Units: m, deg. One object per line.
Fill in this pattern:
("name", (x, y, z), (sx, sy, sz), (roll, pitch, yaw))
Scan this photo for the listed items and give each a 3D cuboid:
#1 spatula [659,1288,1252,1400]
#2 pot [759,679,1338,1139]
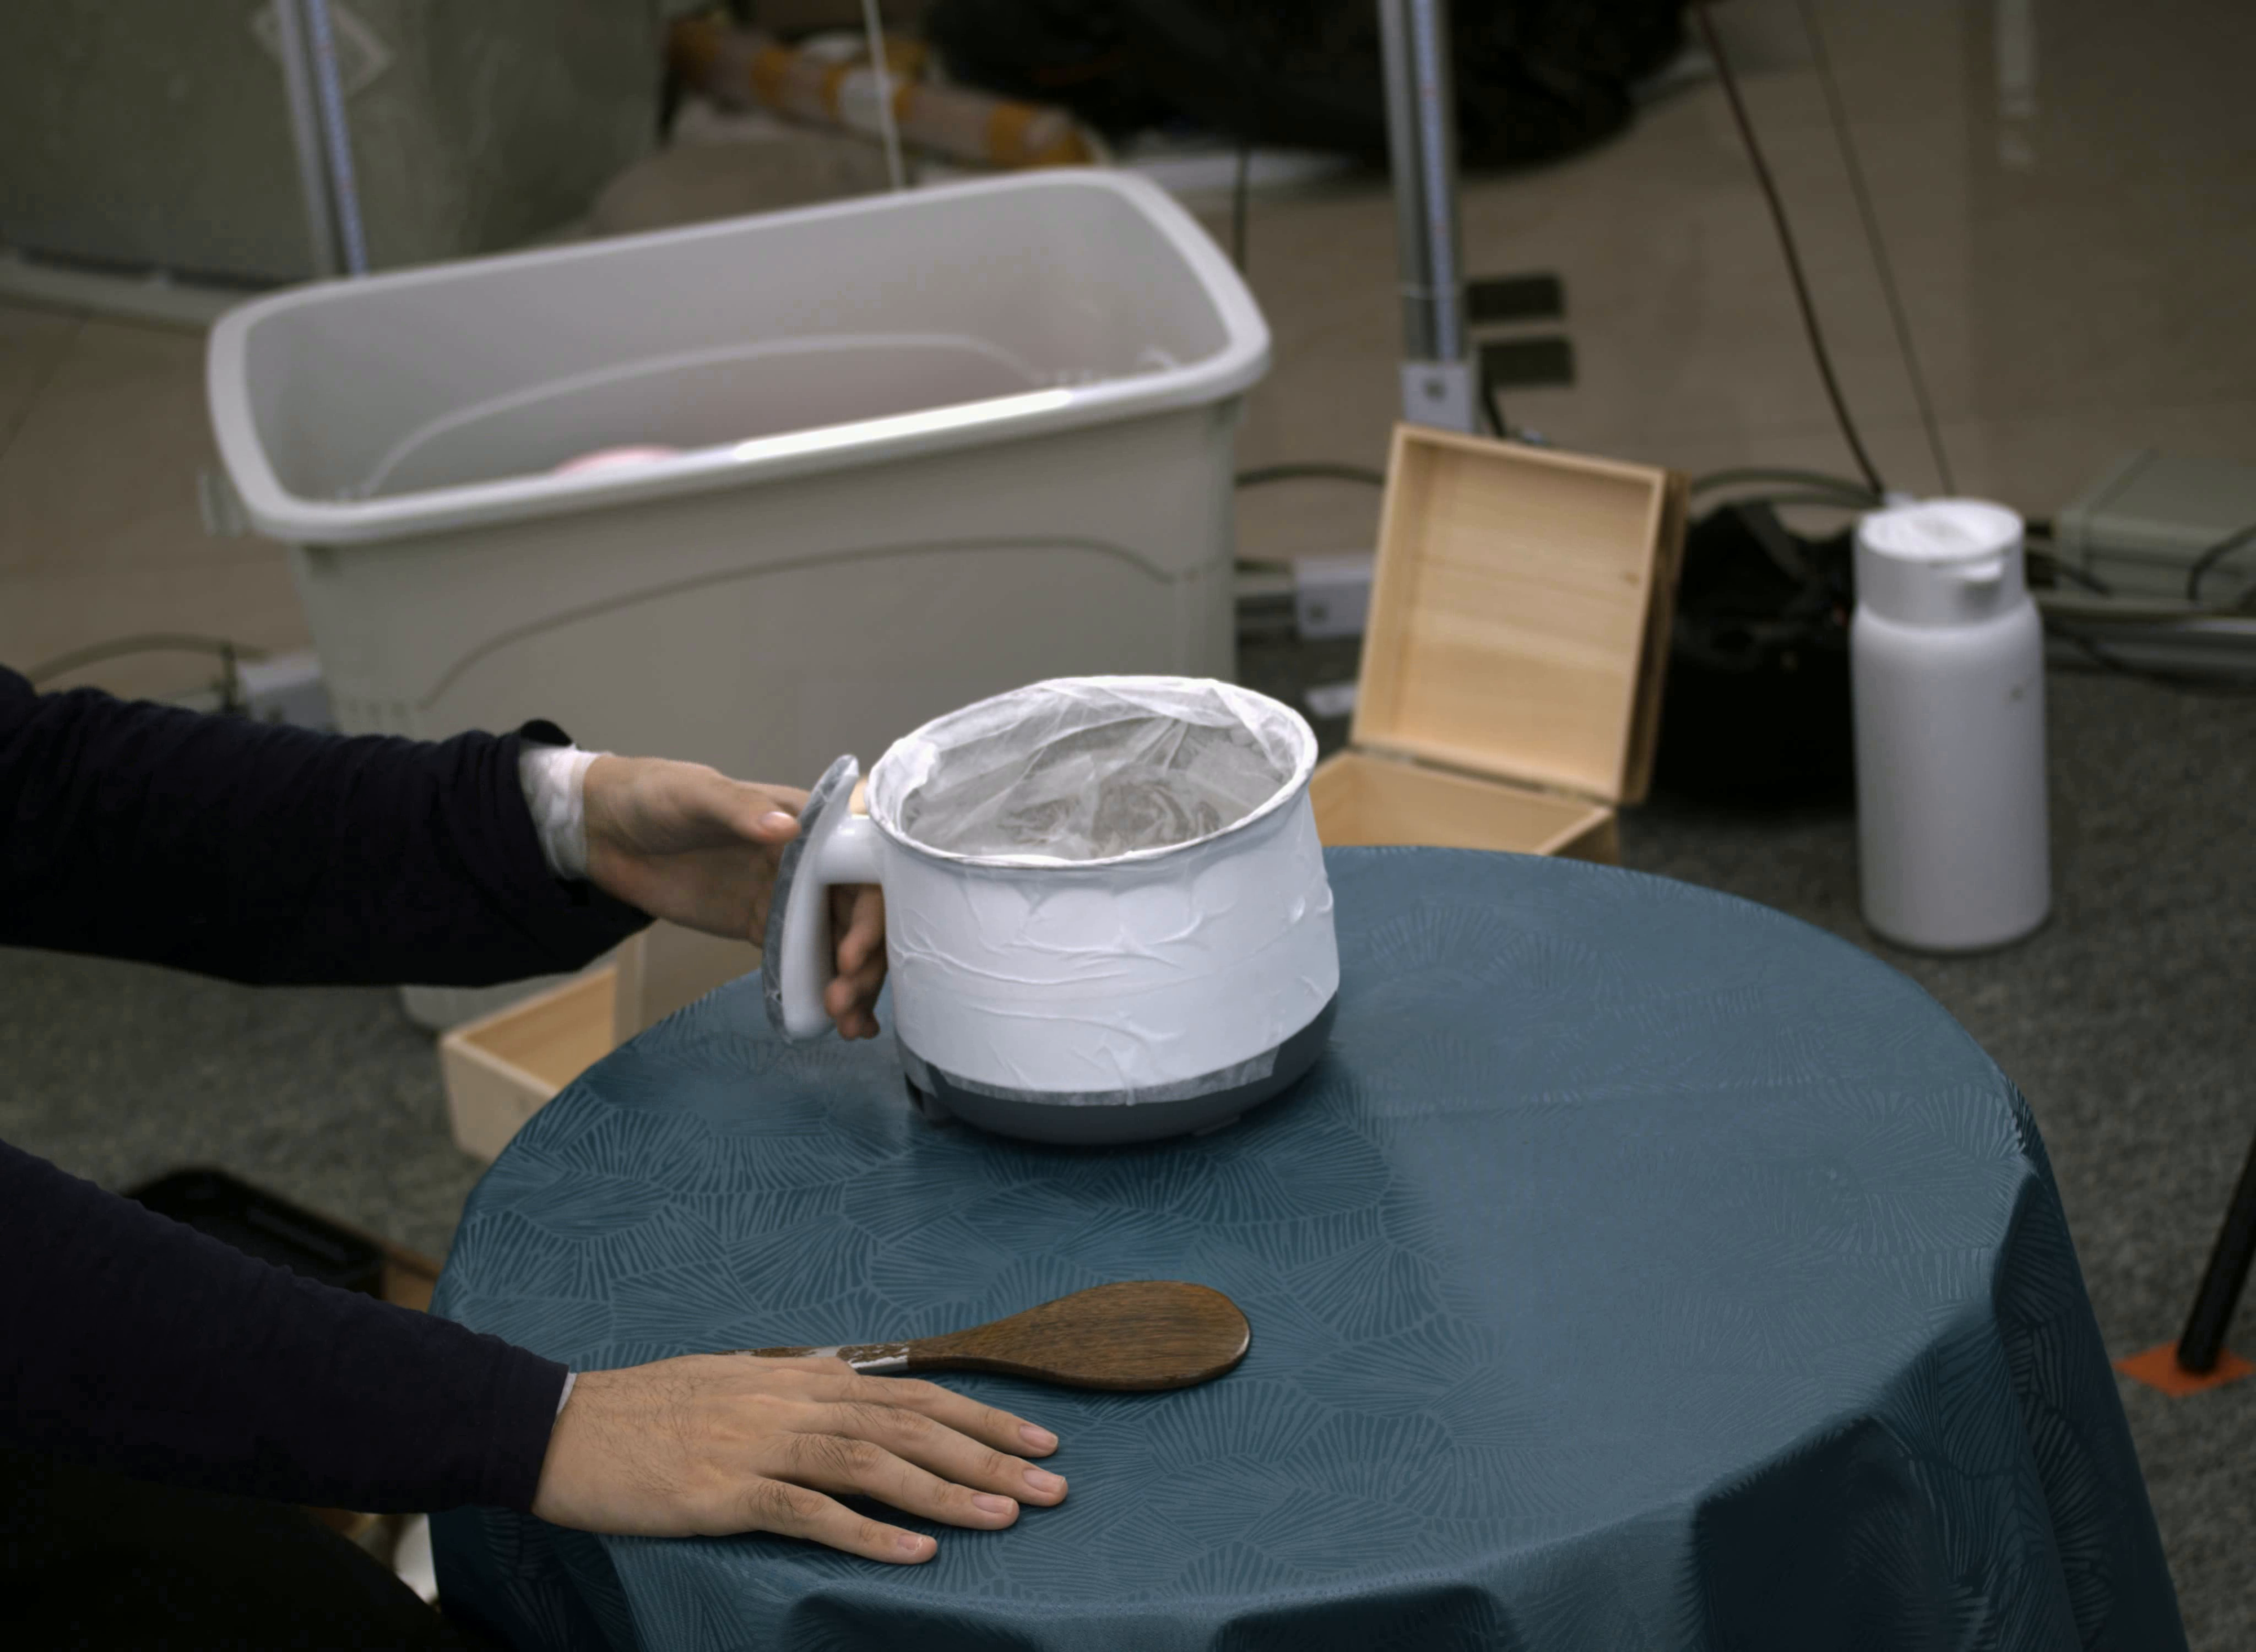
("spatula", (-0.063, 0.192, 2.048), (0.215, 0.009, 0.071), (-6, 23, 4))
("pot", (-0.035, 0.033, 2.219), (0.233, 0.138, 0.176), (1, 23, 13))
